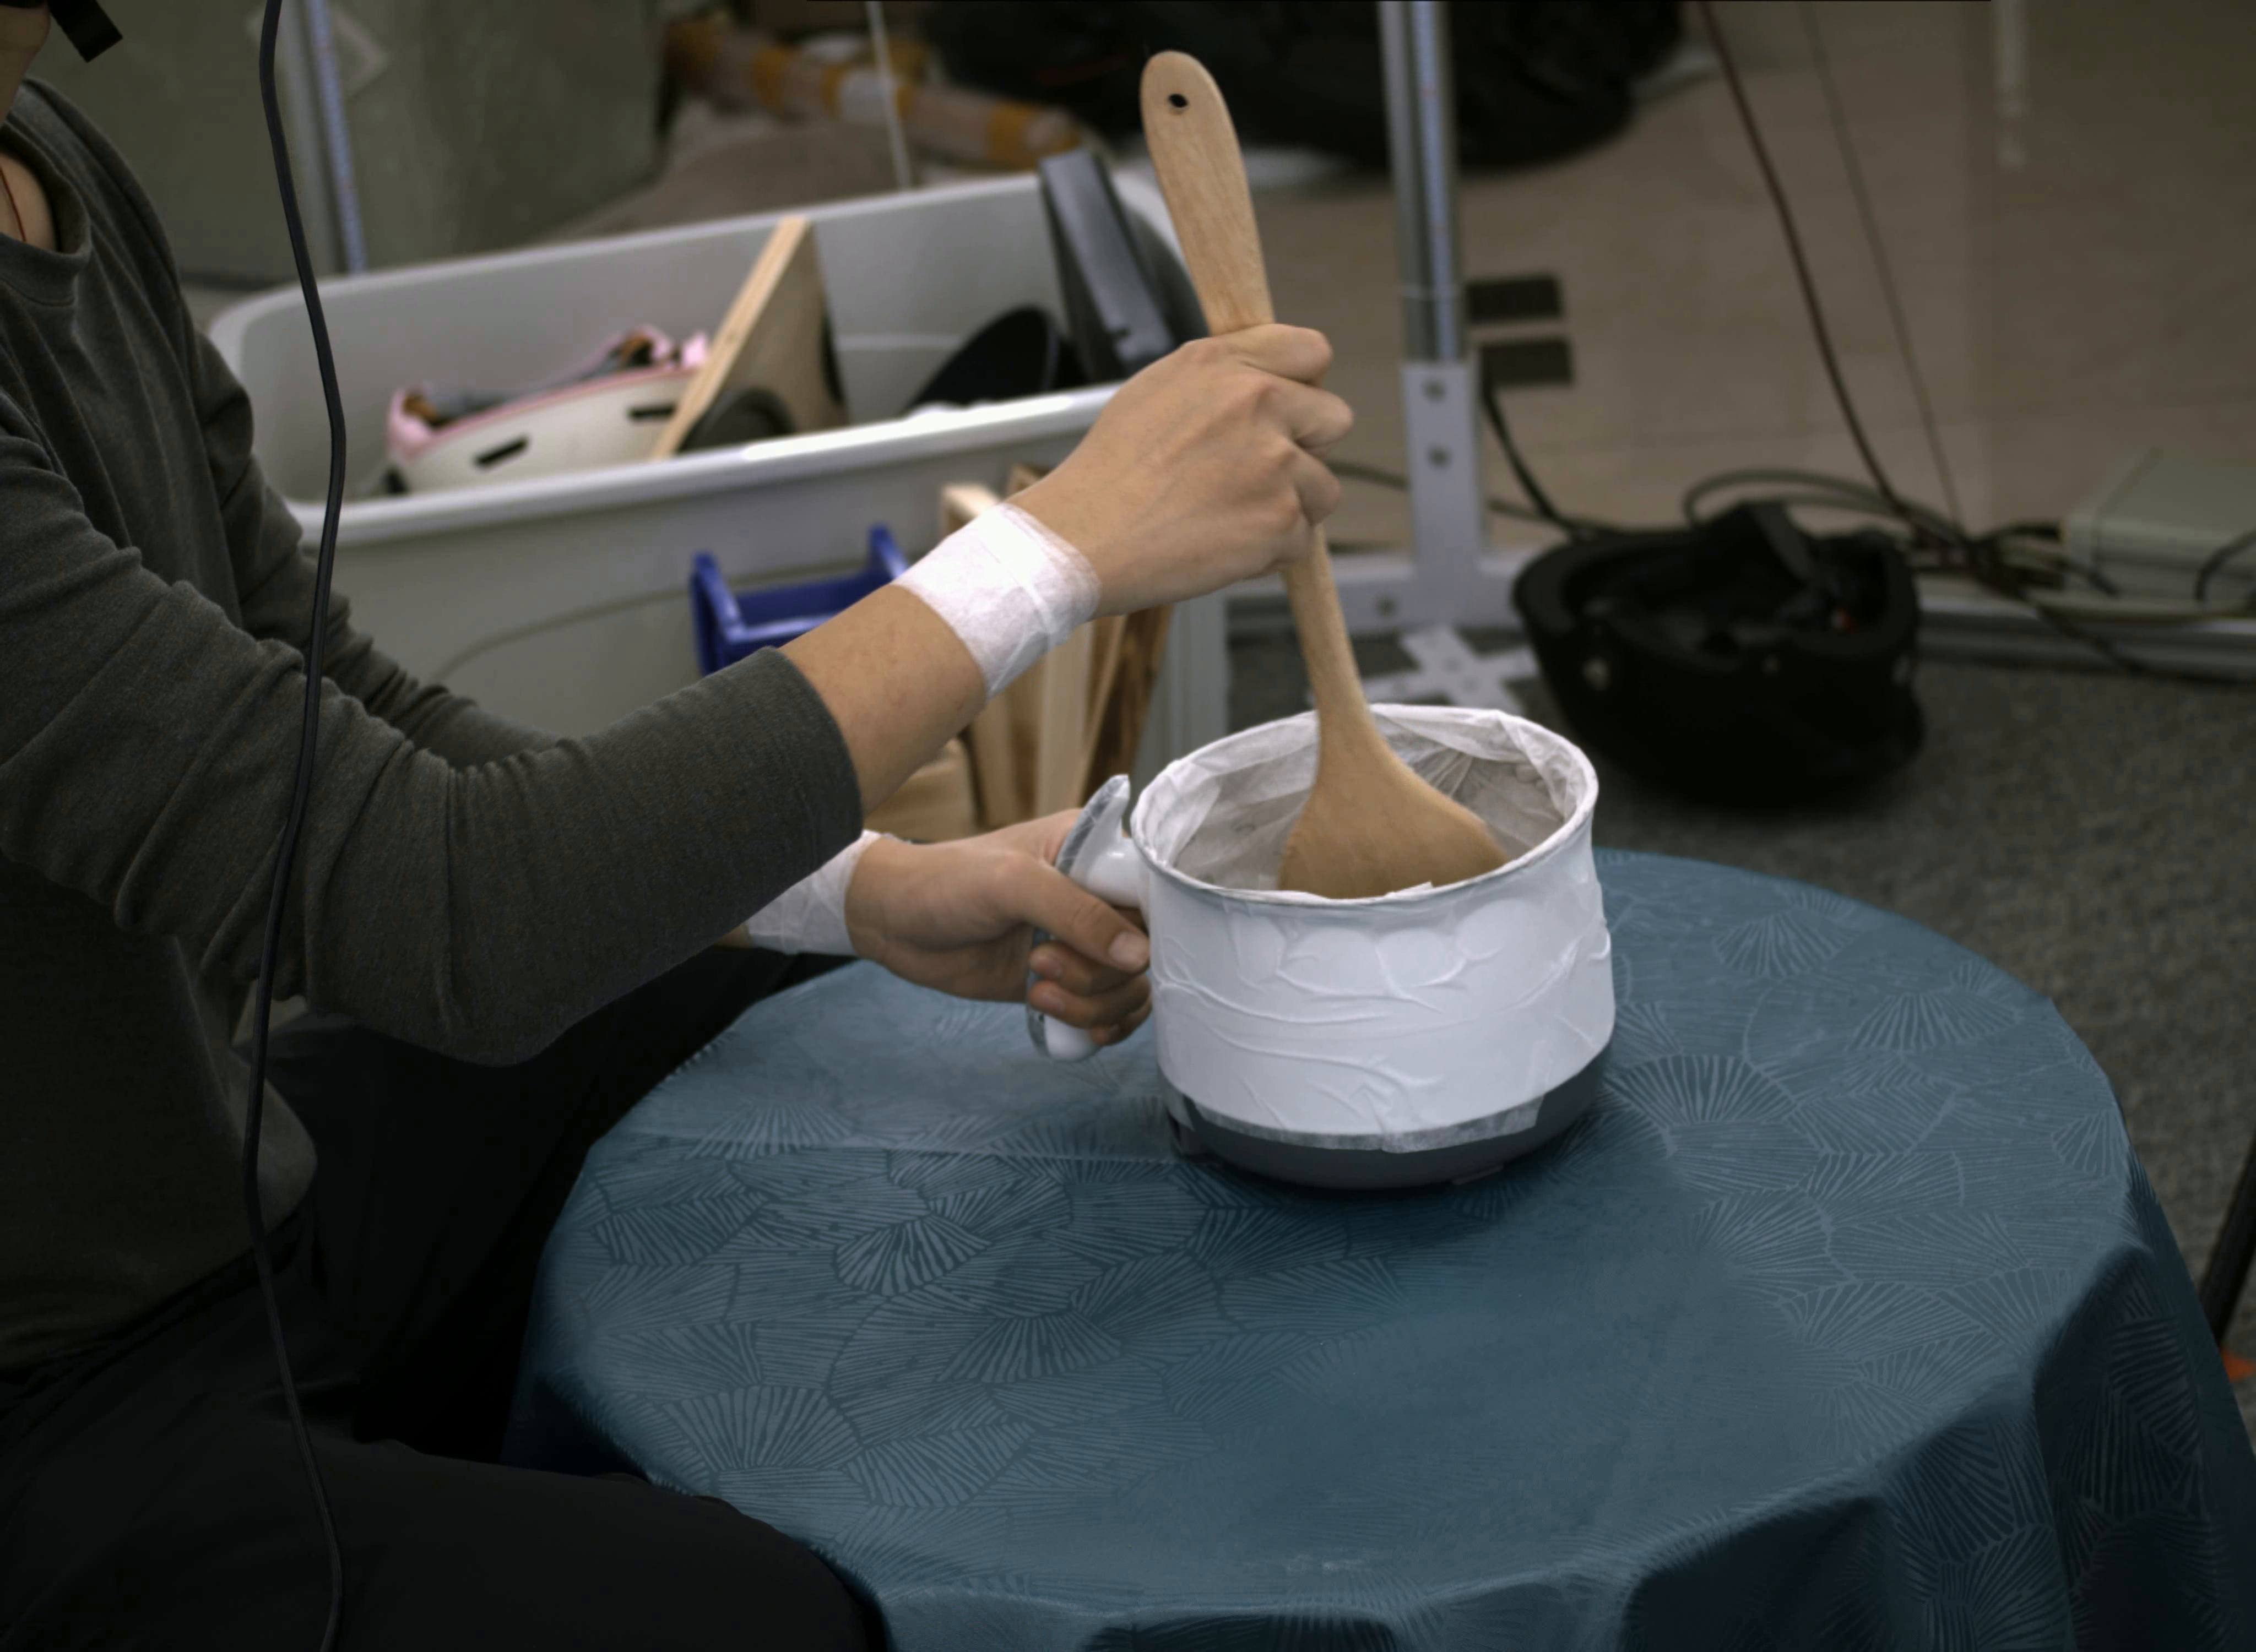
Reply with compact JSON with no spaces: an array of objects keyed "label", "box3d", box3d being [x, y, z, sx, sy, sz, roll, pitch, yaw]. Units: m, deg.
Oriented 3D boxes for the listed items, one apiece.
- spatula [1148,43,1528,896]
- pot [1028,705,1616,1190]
[{"label":"spatula","box3d":[0.072,-0.104,2.068,0.096,0.396,0.018,-12,24,9]},{"label":"pot","box3d":[0.070,0.047,2.169,0.233,0.139,0.176,3,26,19]}]
